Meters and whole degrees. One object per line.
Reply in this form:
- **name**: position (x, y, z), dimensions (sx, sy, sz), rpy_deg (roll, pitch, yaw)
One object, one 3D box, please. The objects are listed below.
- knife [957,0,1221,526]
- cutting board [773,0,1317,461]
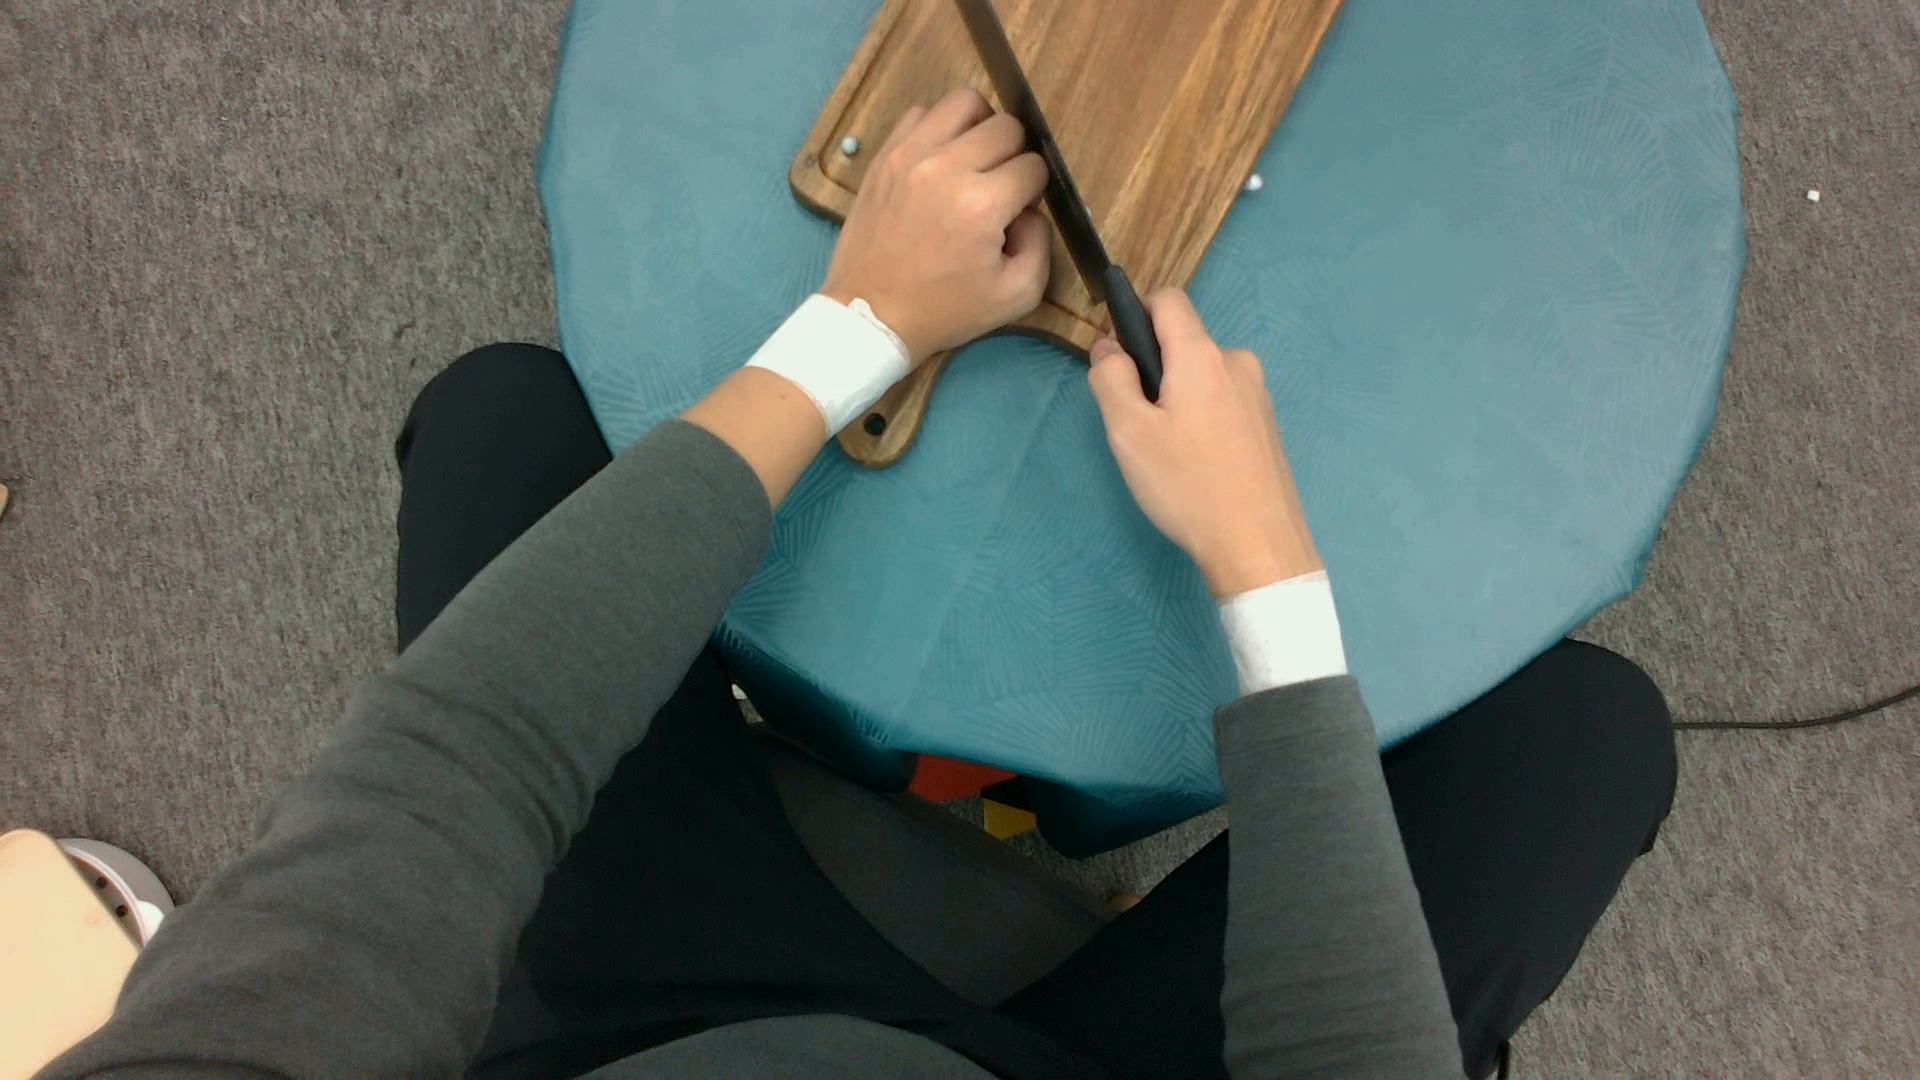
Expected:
- **knife**: position (0.049, -0.145, 0.626), dimensions (0.021, 0.081, 0.302), rpy_deg (-25, 94, -2)
- **cutting board**: position (0.027, -0.196, 0.678), dimensions (0.201, 0.023, 0.352), rpy_deg (28, 84, 1)
